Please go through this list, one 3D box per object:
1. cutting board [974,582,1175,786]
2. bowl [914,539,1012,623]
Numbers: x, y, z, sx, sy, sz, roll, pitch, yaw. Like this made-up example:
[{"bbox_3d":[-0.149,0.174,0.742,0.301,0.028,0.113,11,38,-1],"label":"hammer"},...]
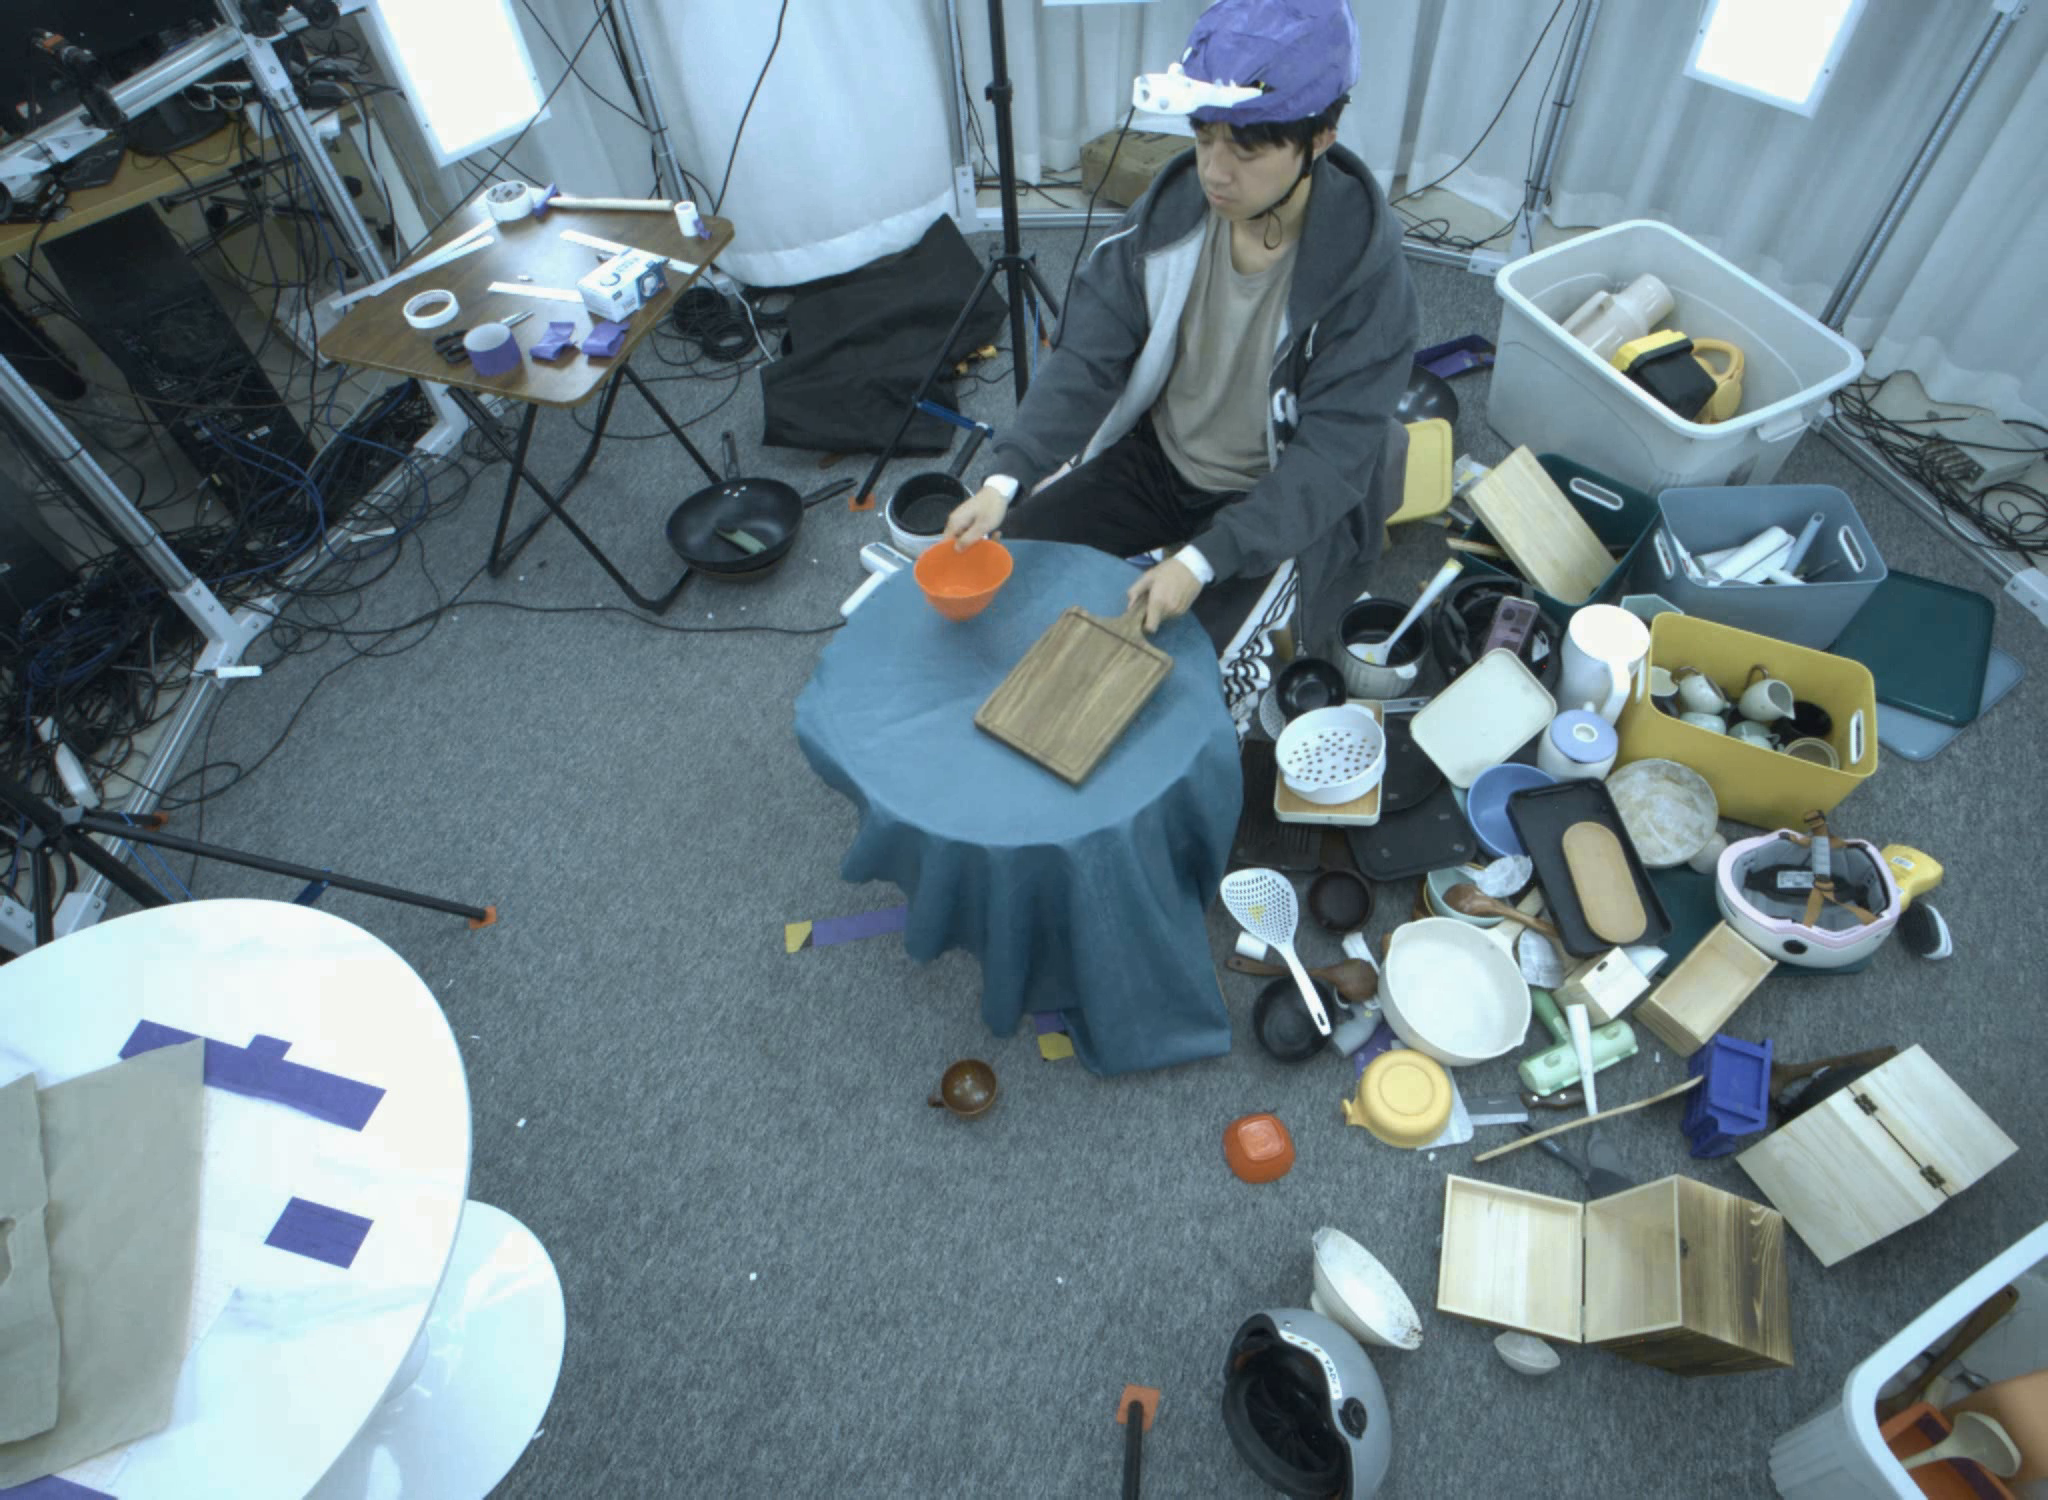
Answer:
[{"bbox_3d":[0.104,-0.122,1.831,0.198,0.023,0.353,31,69,21],"label":"cutting board"},{"bbox_3d":[-0.094,-0.246,1.862,0.148,0.105,0.146,3,53,-2],"label":"bowl"}]
